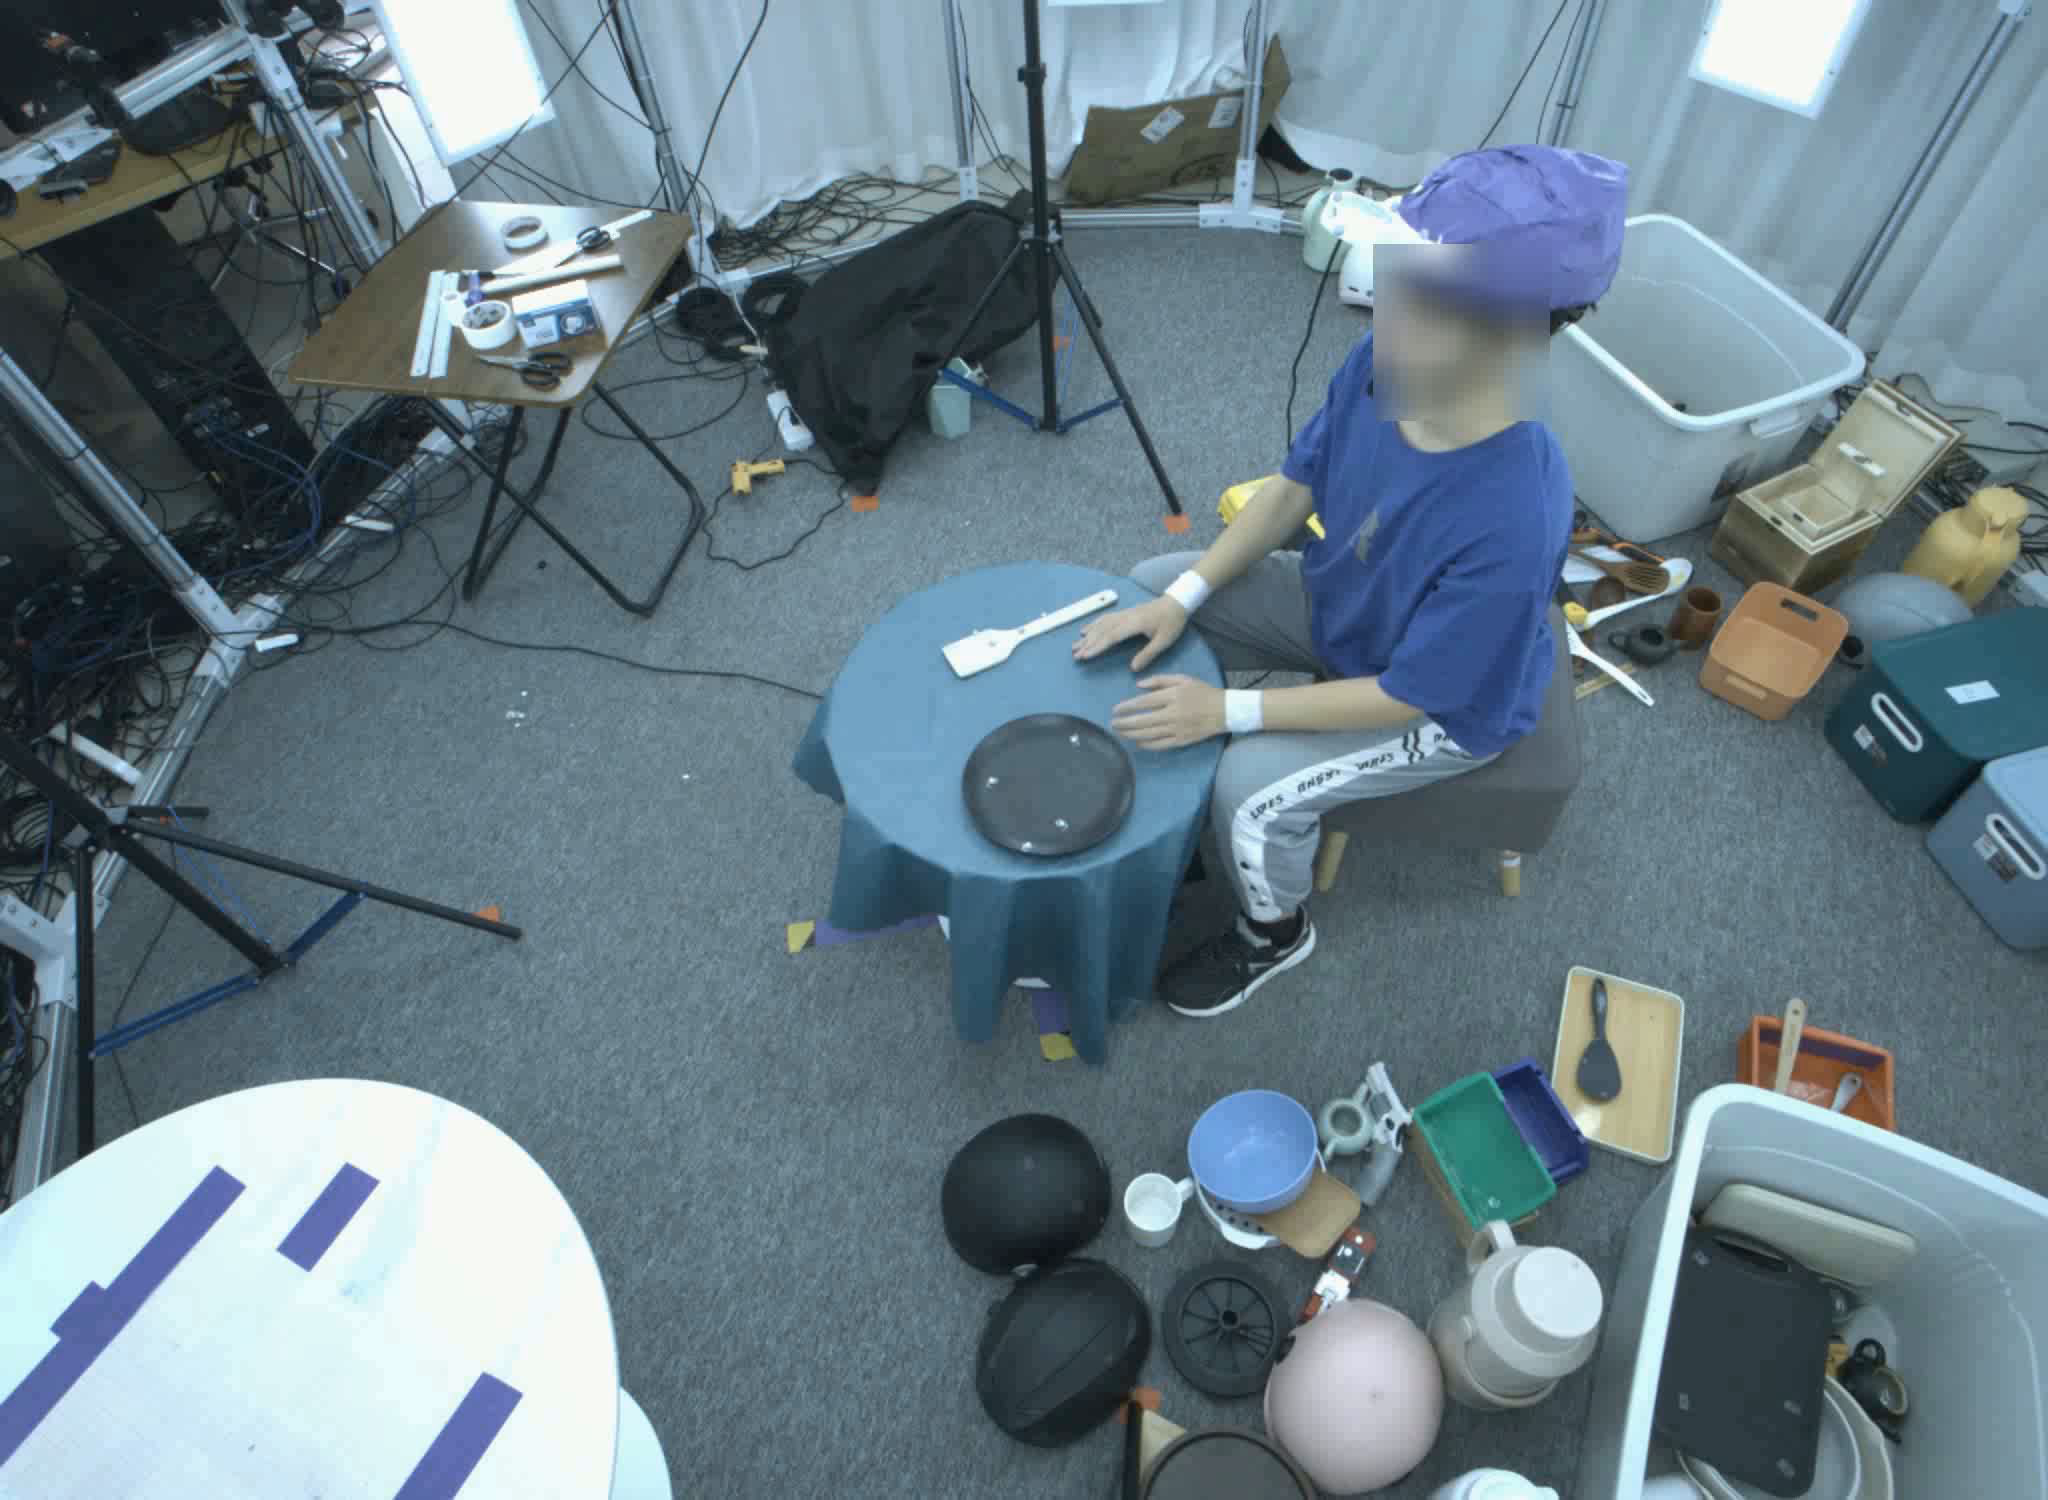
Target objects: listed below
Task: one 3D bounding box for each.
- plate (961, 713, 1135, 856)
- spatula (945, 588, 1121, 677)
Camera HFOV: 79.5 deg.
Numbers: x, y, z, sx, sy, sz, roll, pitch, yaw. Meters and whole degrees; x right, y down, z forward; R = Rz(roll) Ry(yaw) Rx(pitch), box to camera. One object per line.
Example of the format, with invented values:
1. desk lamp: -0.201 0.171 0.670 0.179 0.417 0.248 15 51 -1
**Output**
1. plate: 0.034 0.049 1.727 0.244 0.024 0.242 0 54 2
2. spatula: 0.020 -0.191 1.908 0.295 0.011 0.071 -24 56 -14
